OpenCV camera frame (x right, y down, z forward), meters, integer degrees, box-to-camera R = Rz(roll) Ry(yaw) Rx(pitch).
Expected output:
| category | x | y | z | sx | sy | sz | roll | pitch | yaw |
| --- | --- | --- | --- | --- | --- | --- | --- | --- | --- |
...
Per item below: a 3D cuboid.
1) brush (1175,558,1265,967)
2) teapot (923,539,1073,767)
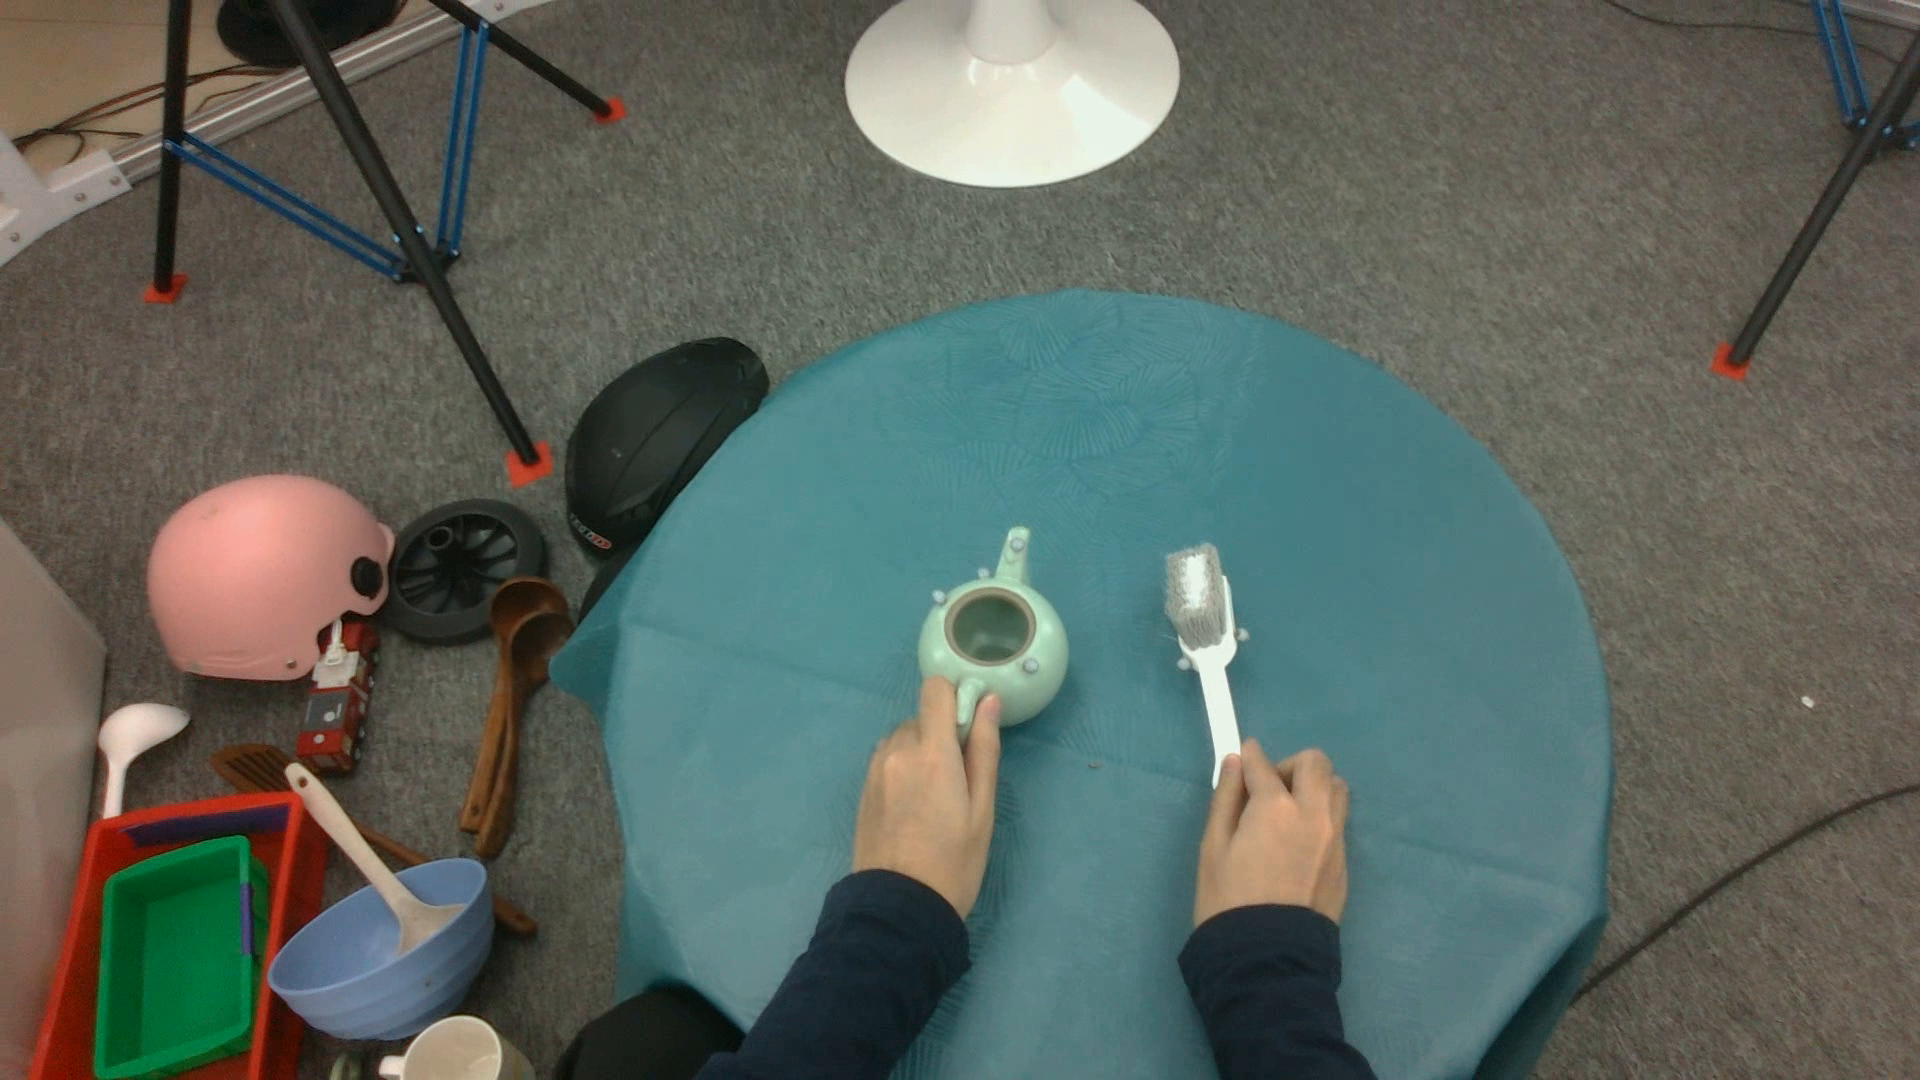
| category | x | y | z | sx | sy | sz | roll | pitch | yaw |
| --- | --- | --- | --- | --- | --- | --- | --- | --- | --- |
| brush | 0.148 | 0.116 | 0.784 | 0.034 | 0.050 | 0.245 | -9 | 53 | 16 |
| teapot | 0.022 | 0.074 | 0.814 | 0.088 | 0.074 | 0.144 | 14 | 55 | 13 |
